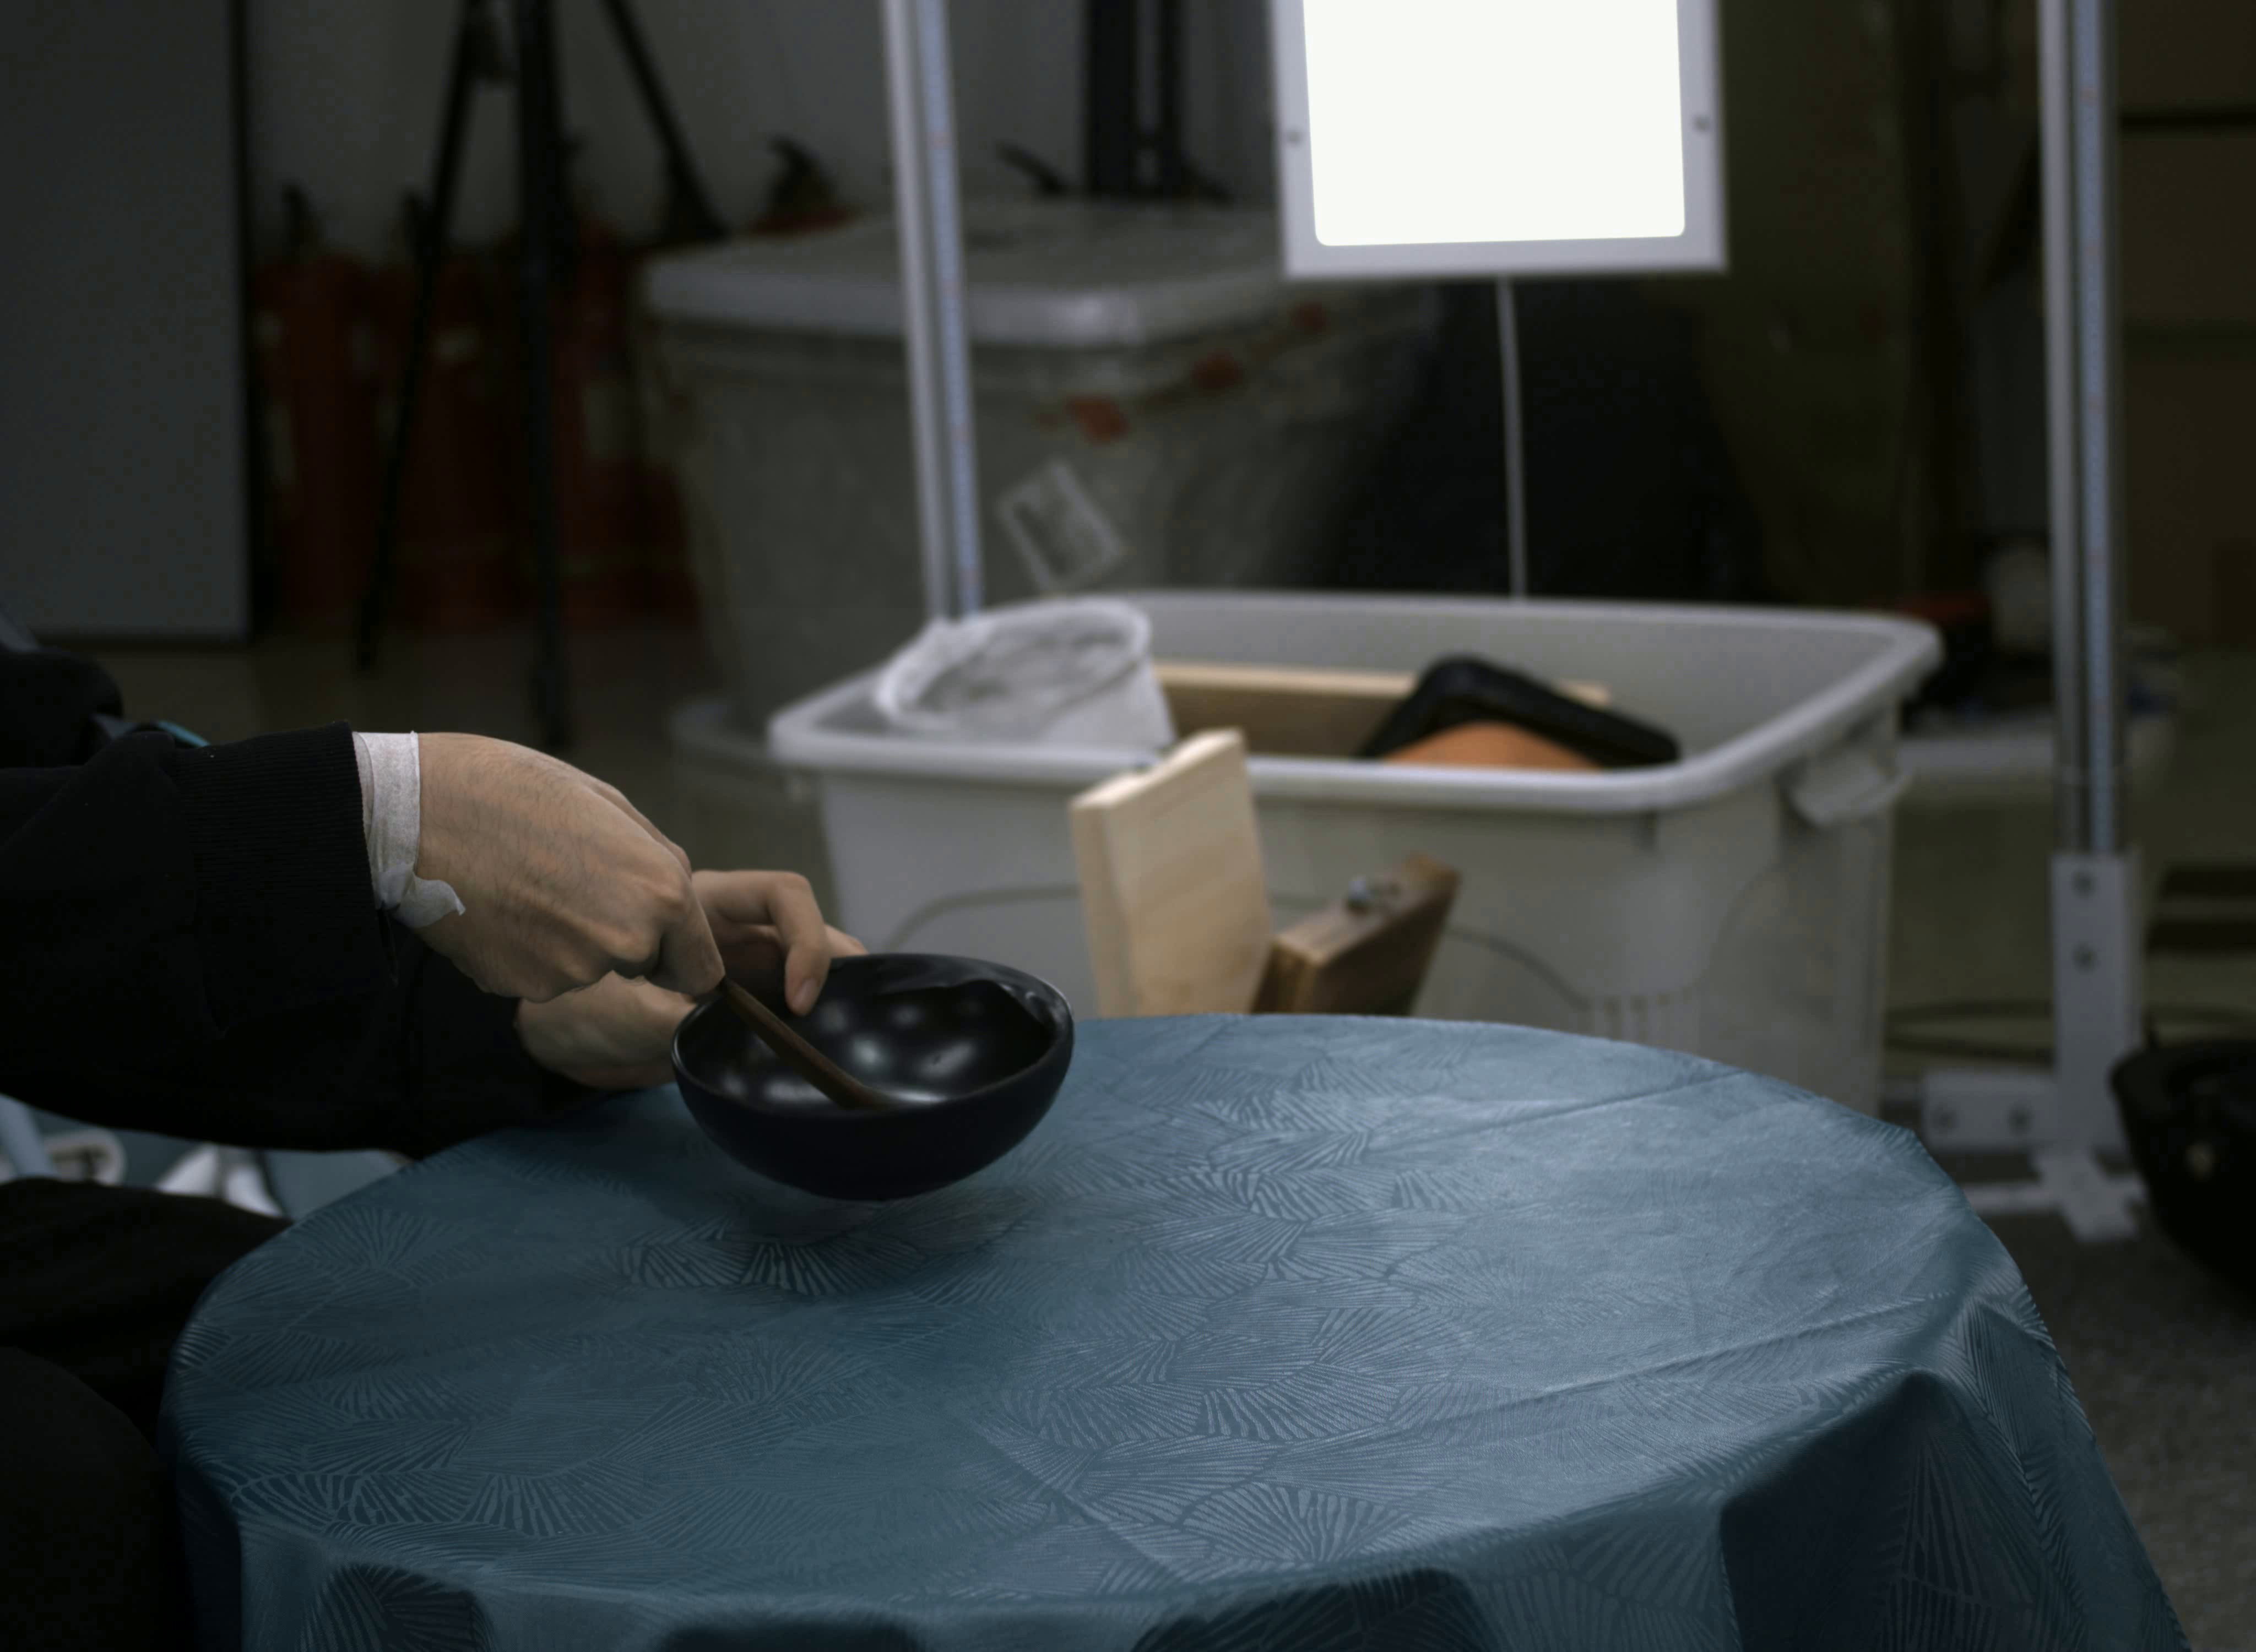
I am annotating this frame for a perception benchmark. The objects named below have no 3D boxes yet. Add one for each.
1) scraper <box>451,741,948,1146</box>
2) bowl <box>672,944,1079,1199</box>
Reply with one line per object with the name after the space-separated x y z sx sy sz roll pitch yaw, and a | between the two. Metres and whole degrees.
-0.145 0.042 1.841 0.011 0.210 0.076 -50 10 -11 | scraper
-0.084 0.090 1.881 0.140 0.050 0.140 -5 22 0 | bowl
